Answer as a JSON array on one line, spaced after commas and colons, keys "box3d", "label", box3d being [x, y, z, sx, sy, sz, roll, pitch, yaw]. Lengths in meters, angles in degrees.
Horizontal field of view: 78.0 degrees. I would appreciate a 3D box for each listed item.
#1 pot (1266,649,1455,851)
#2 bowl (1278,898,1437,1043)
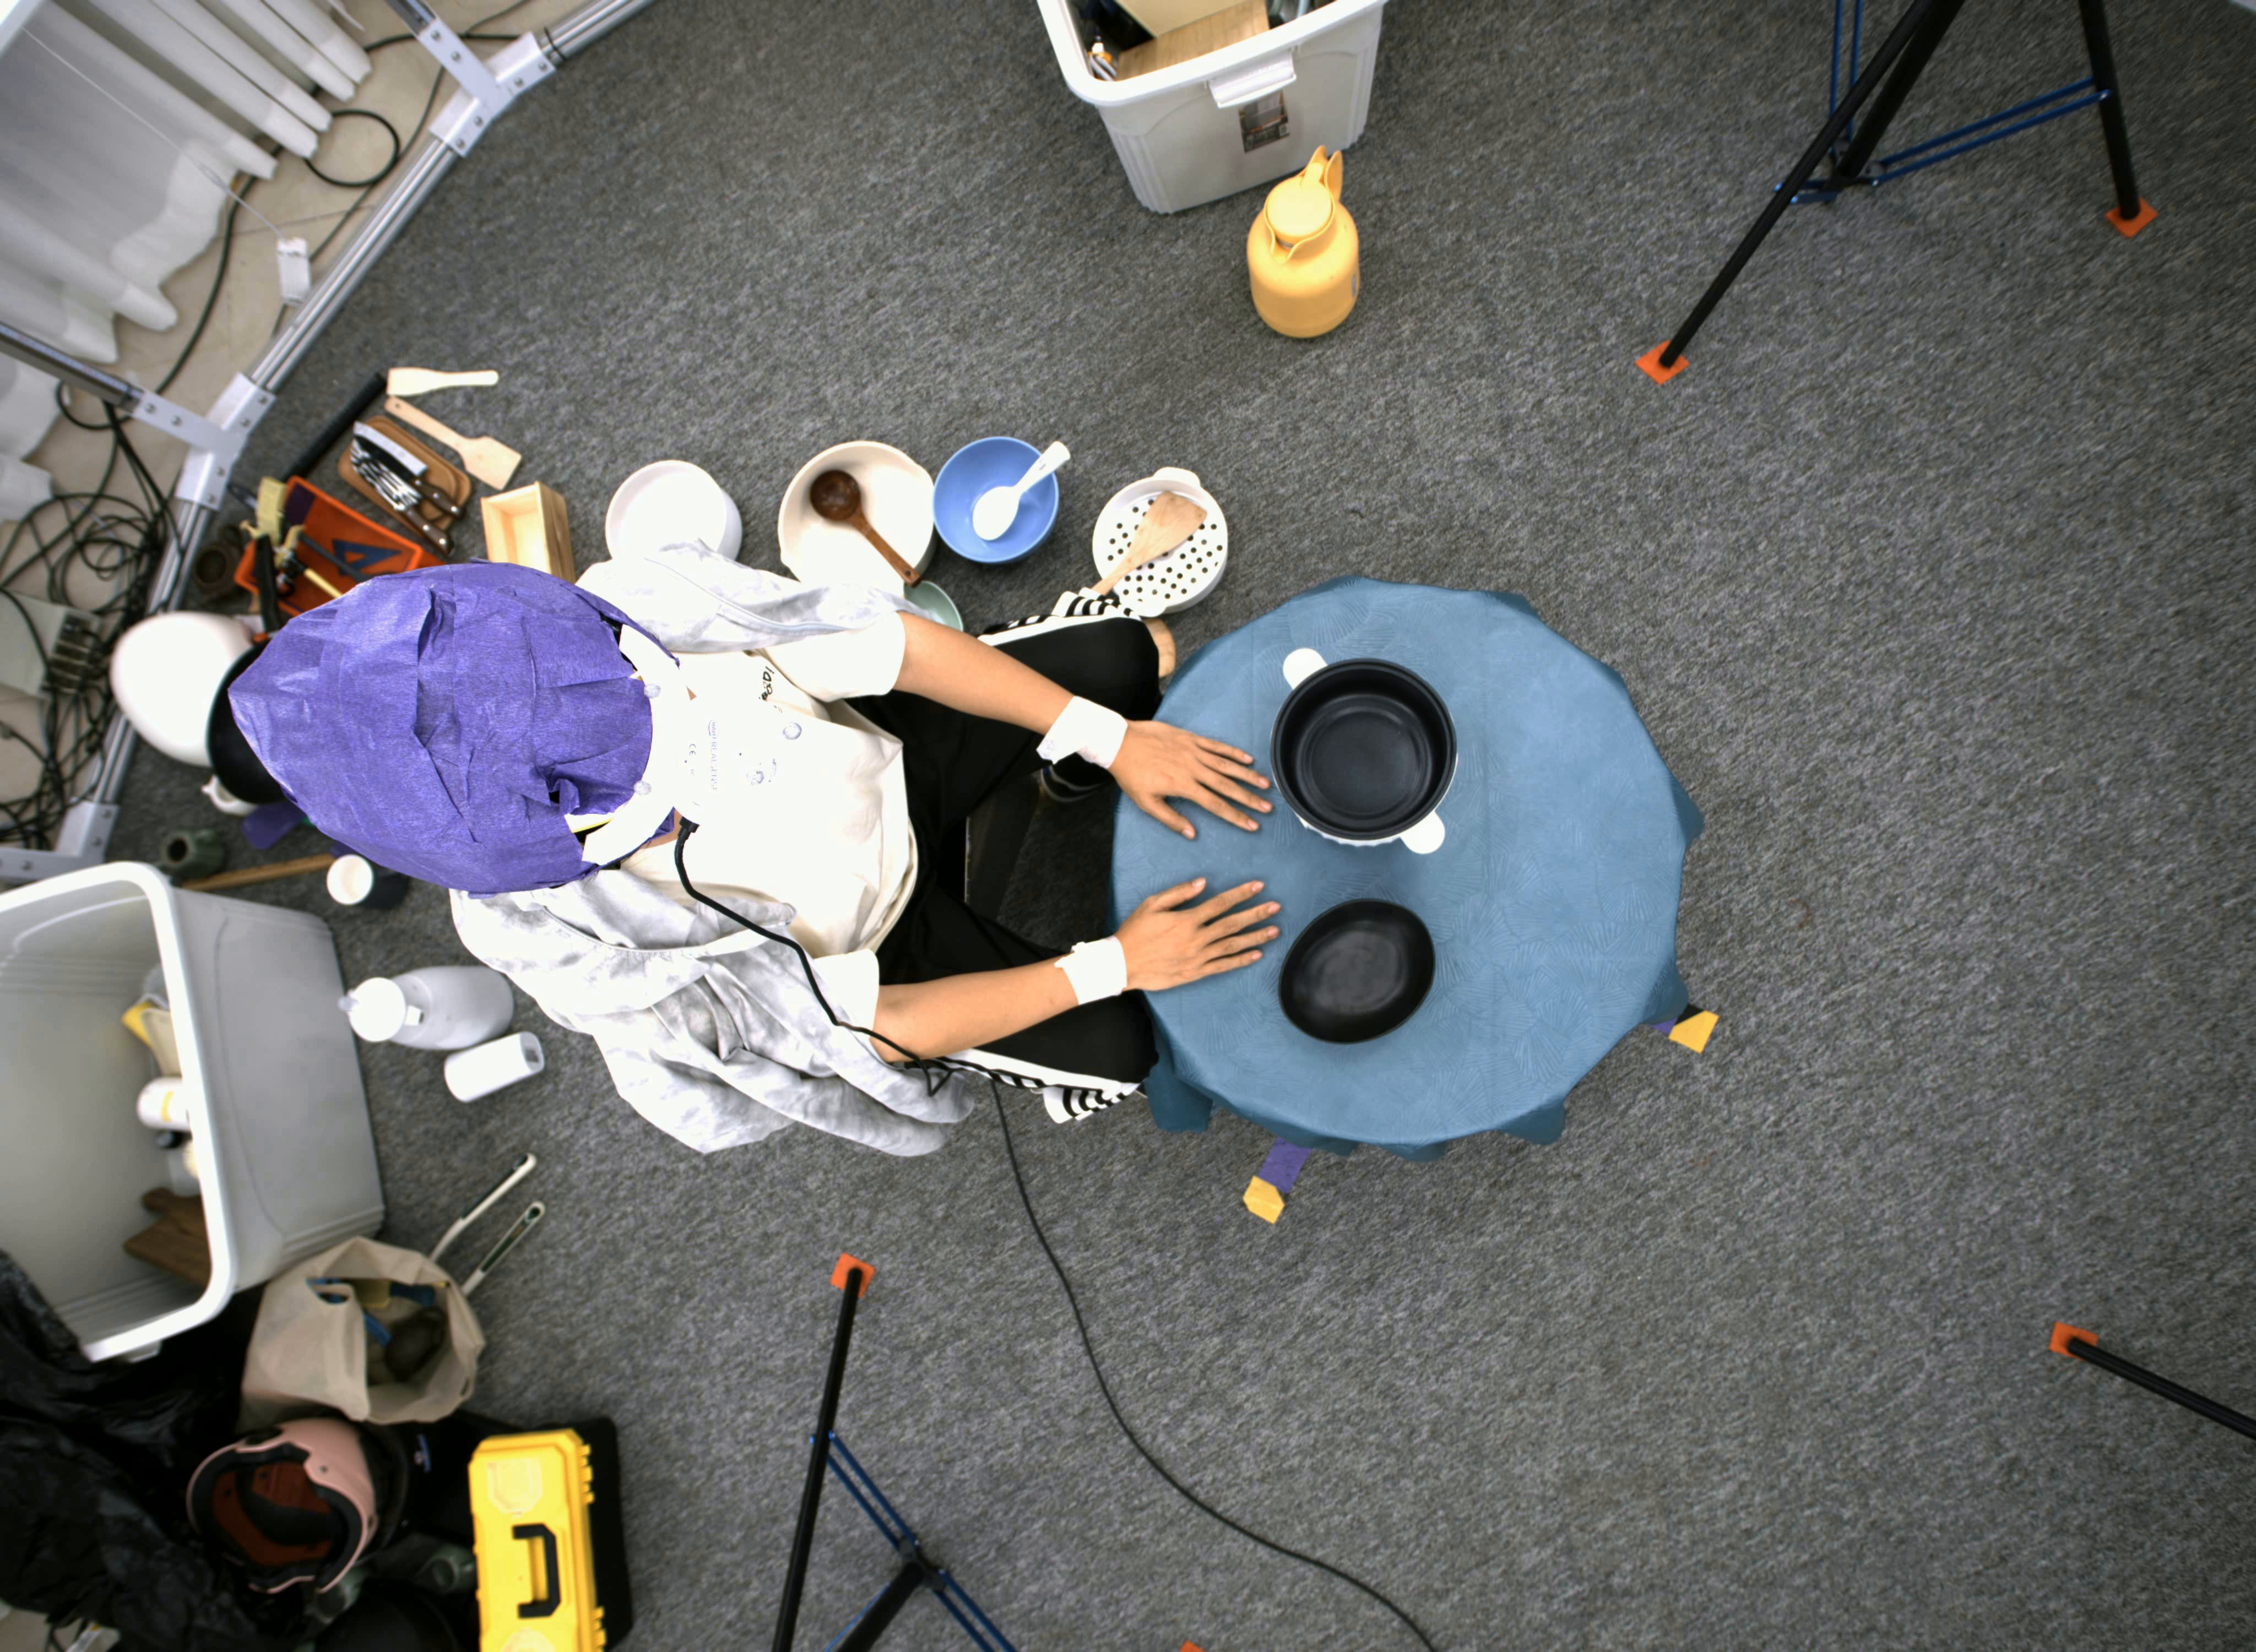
[{"box3d": [0.242, -0.074, 1.401, 0.192, 0.142, 0.239, -37, 81, 9], "label": "pot"}, {"box3d": [0.237, 0.150, 1.427, 0.171, 0.067, 0.136, -37, 80, 8], "label": "bowl"}]
